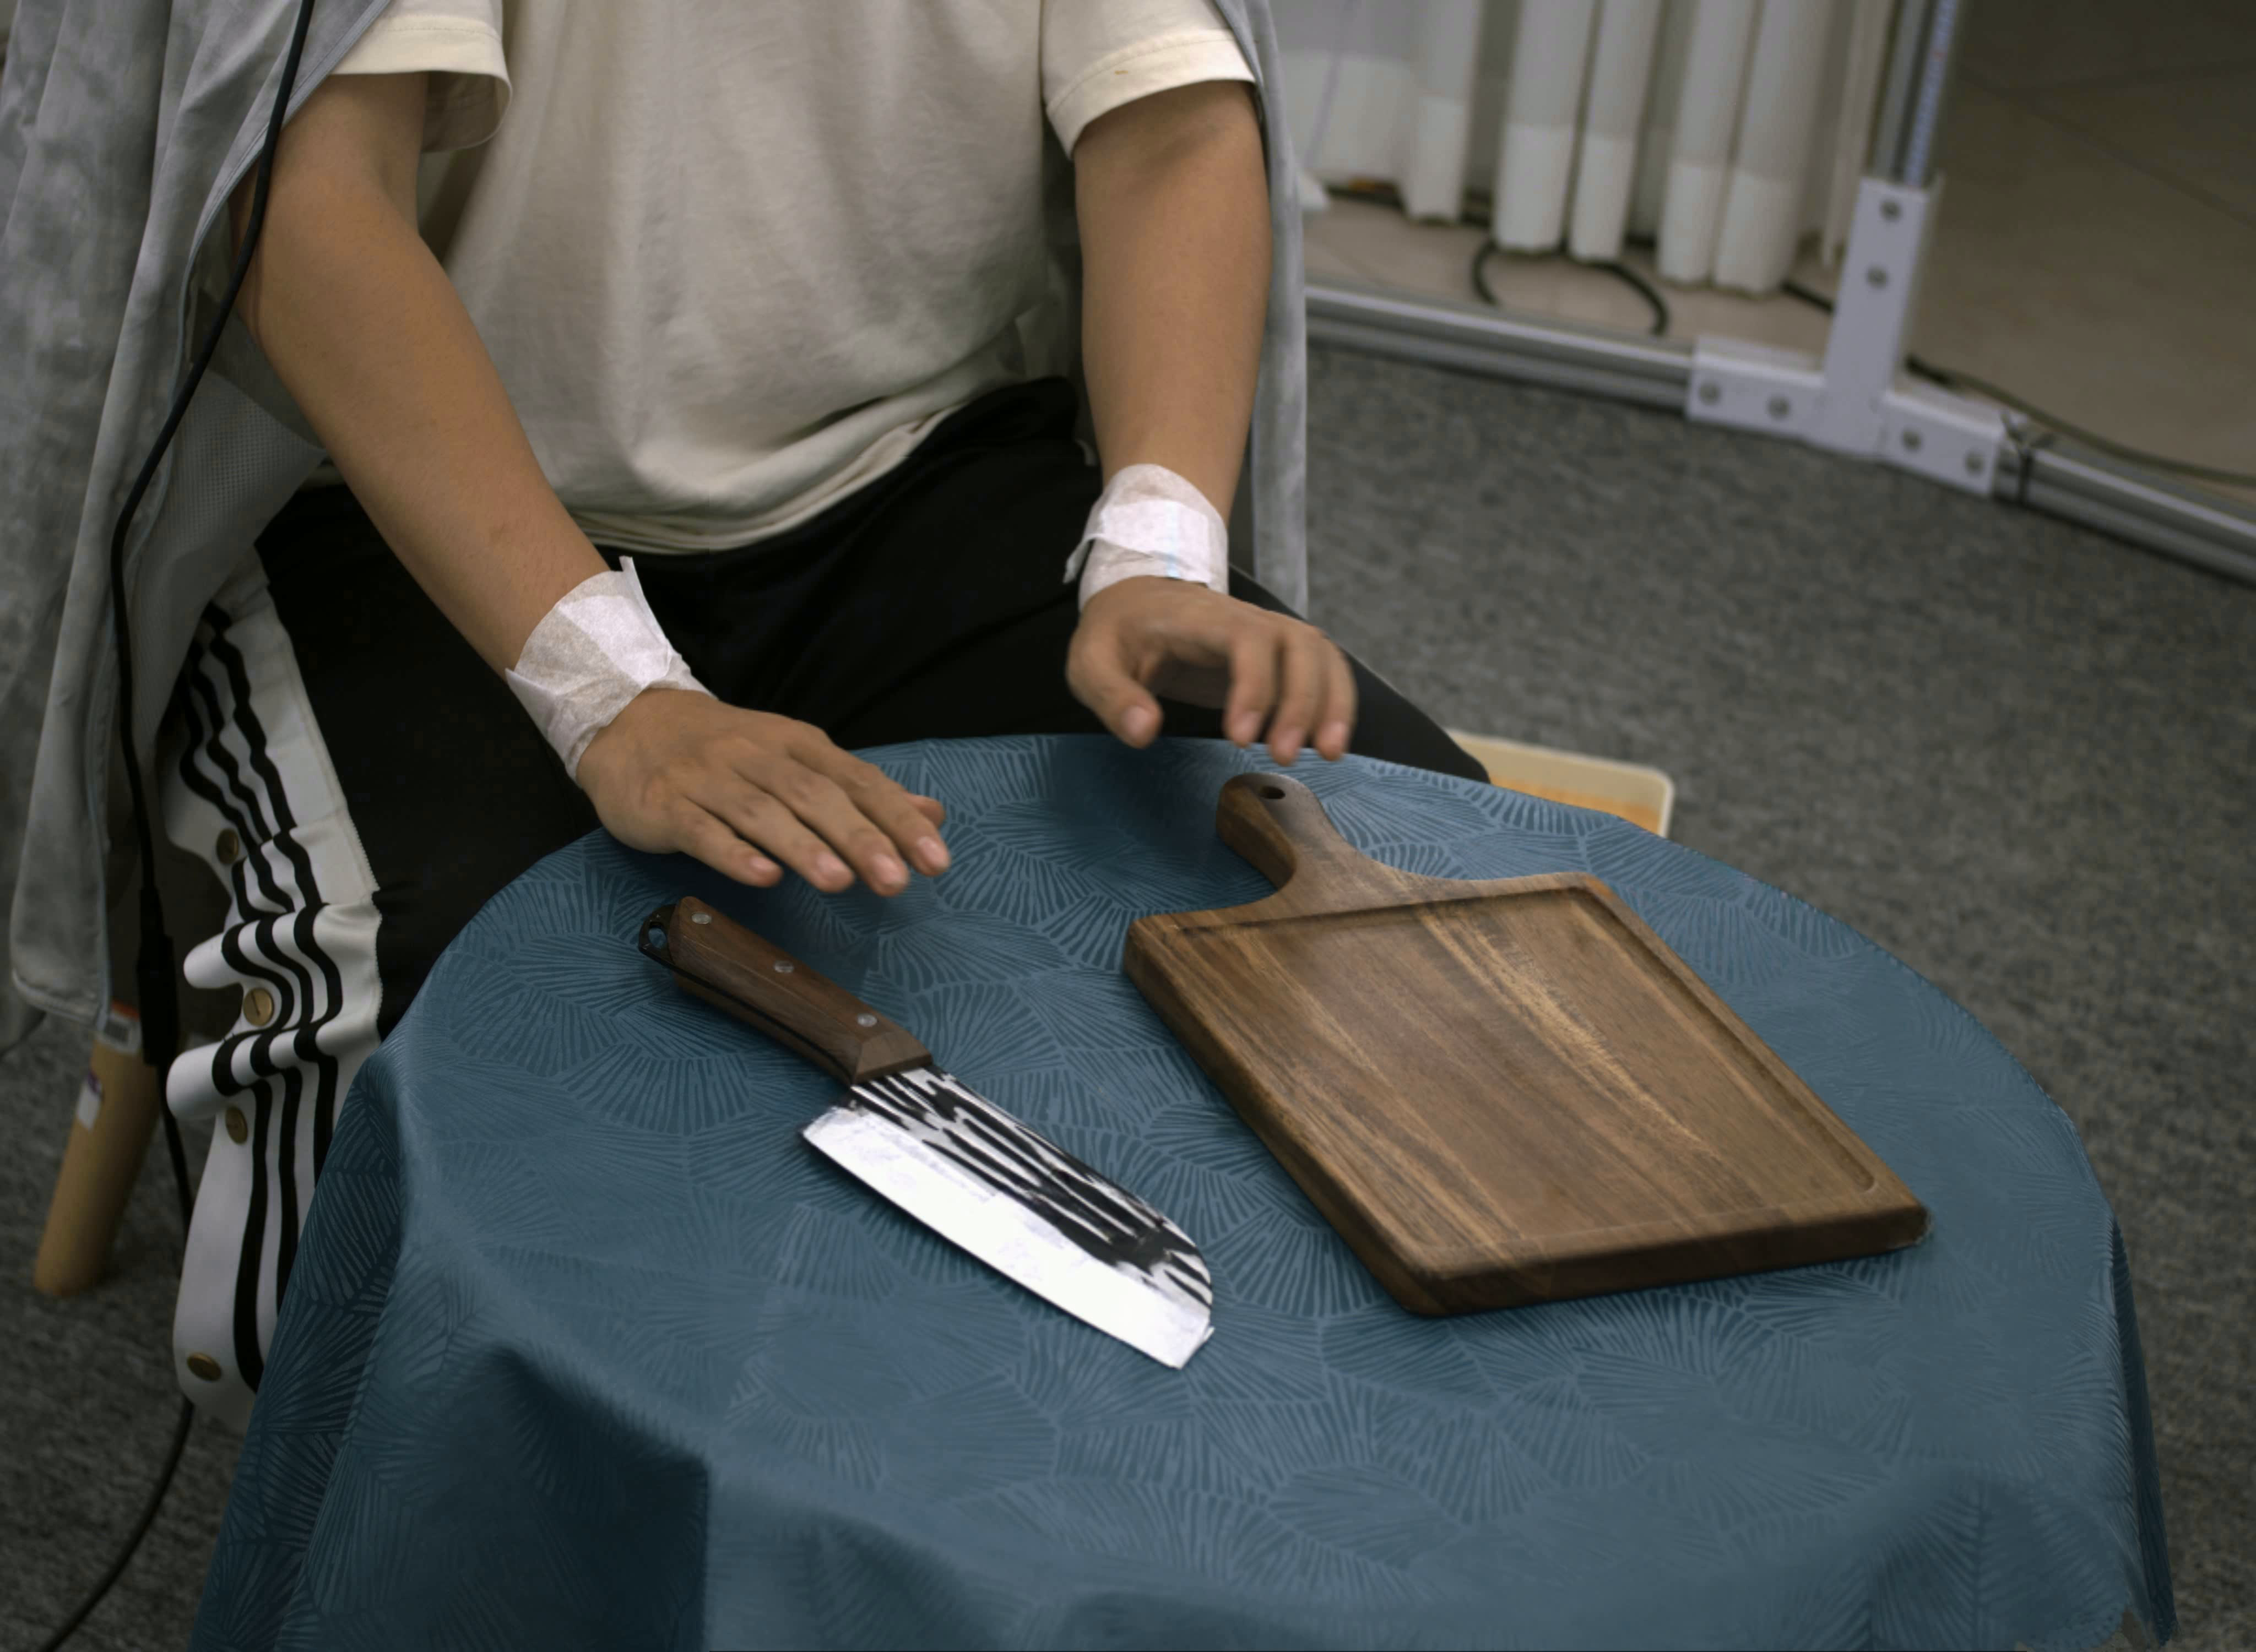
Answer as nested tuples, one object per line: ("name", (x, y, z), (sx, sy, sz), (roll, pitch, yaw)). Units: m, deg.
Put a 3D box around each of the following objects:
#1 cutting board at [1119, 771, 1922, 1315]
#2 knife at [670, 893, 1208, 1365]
("cutting board", (0.115, 0.066, 1.920), (0.200, 0.023, 0.355), (-6, 29, -24))
("knife", (-0.073, 0.102, 1.809), (0.068, 0.024, 0.302), (-21, 40, -39))
